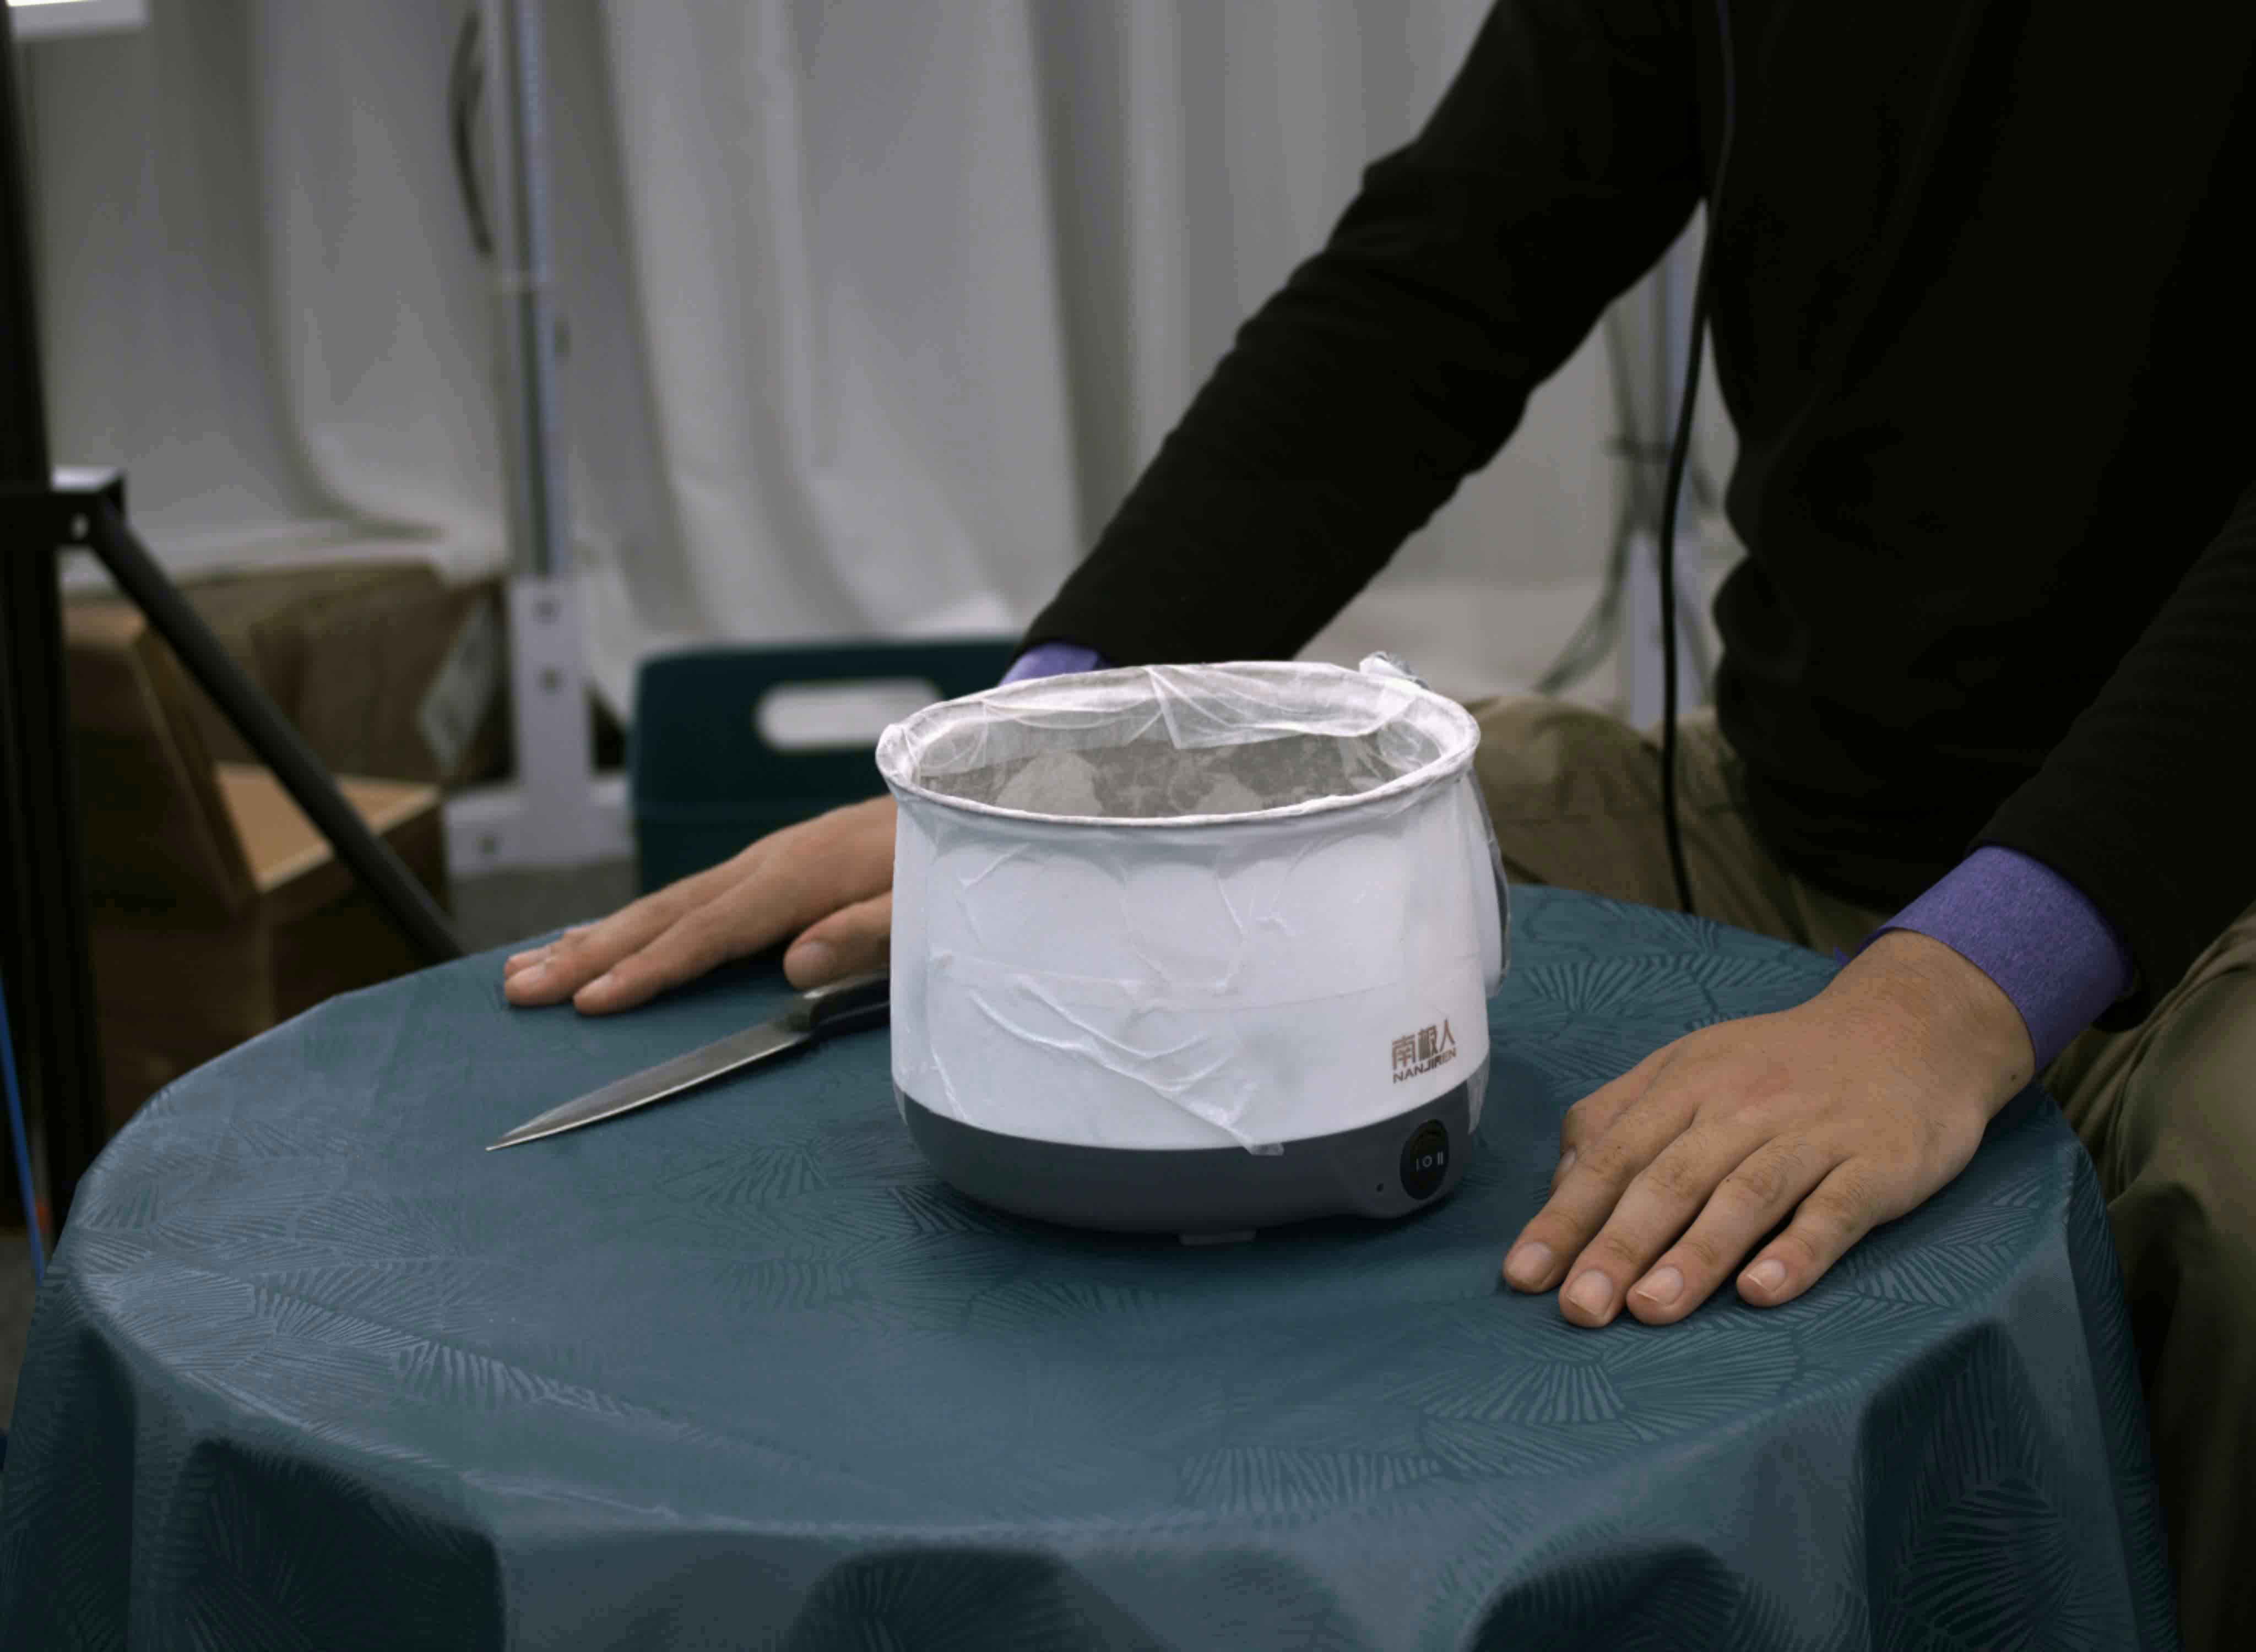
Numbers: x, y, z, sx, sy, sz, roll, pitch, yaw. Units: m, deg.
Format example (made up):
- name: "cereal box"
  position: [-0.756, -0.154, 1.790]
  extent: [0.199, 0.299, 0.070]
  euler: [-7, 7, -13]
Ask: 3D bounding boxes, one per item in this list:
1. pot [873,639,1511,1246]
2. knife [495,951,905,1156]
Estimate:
- name: "pot"
  position: [0.034, 0.027, 1.577]
  extent: [0.182, 0.136, 0.229]
  euler: [11, 22, 38]
- name: "knife"
  position: [-0.114, 0.067, 1.697]
  extent: [0.025, 0.016, 0.233]
  euler: [13, 25, 42]
